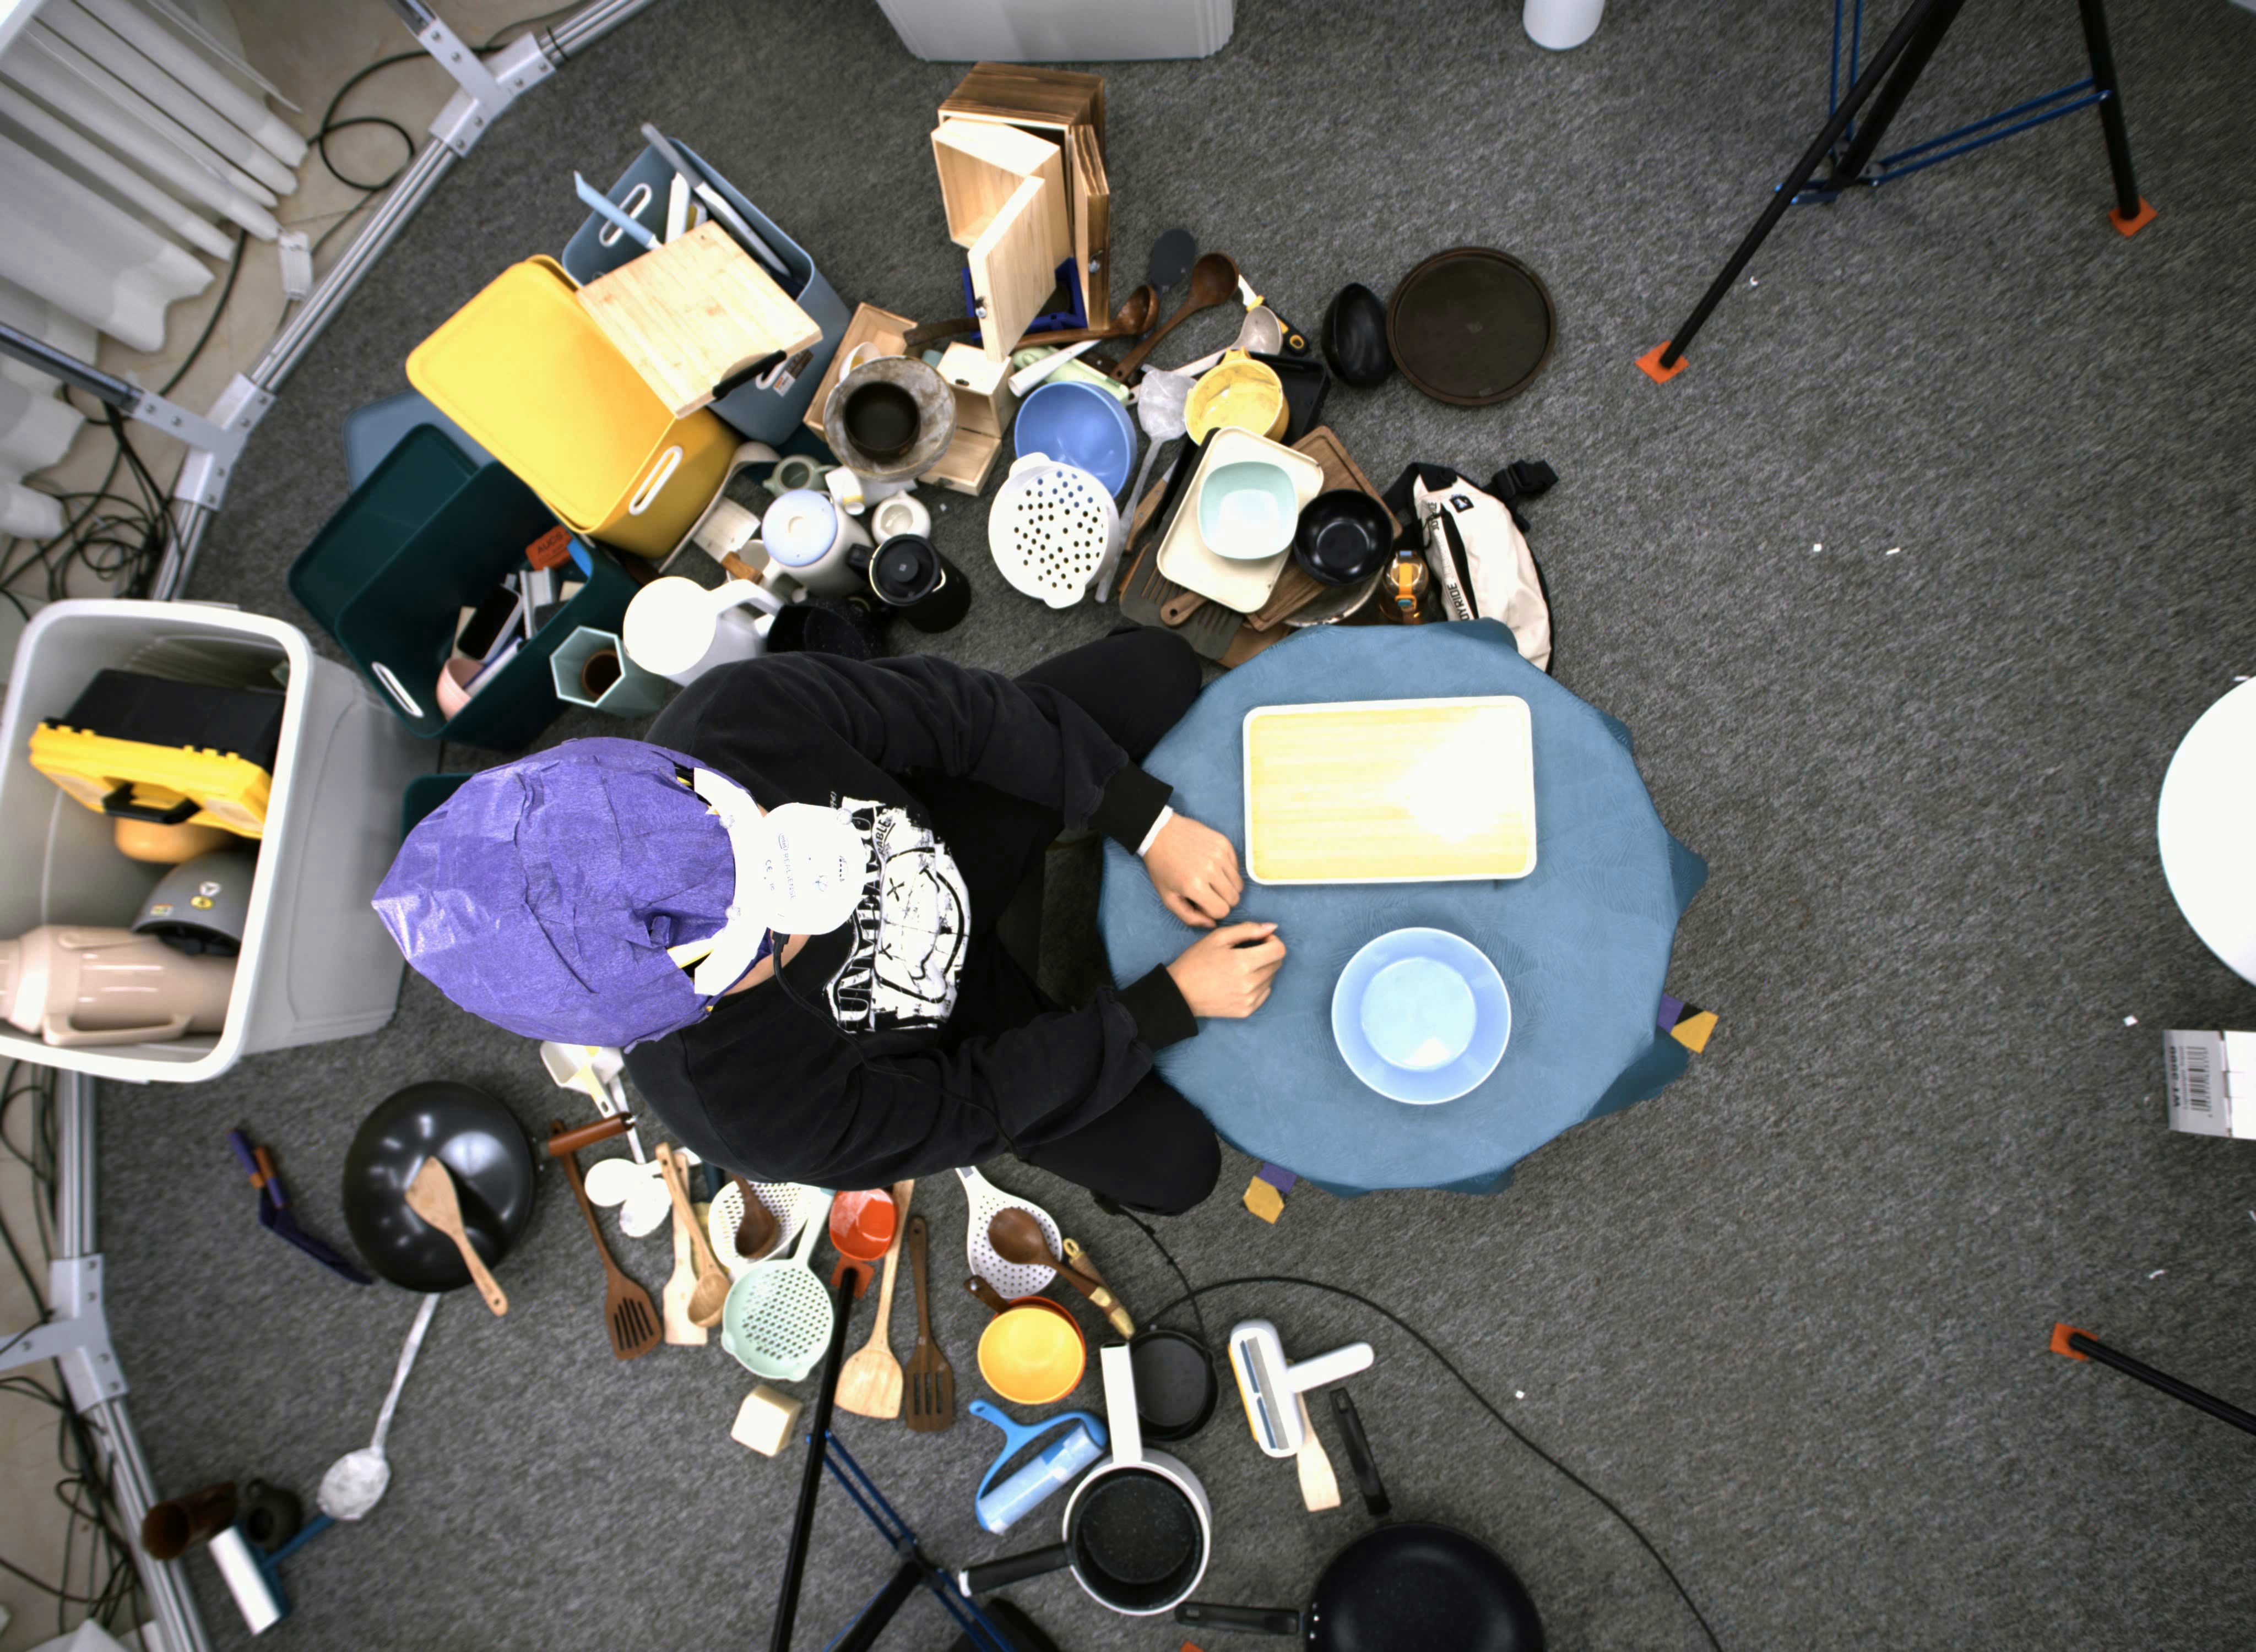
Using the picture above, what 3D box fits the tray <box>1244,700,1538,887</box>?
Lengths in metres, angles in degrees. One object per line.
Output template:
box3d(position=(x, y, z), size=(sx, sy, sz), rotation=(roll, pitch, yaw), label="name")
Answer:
box3d(position=(0.276, -0.035, 1.458), size=(0.301, 0.027, 0.190), rotation=(-2, 86, 10), label="tray")

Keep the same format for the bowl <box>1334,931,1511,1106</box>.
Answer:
box3d(position=(0.299, 0.195, 1.415), size=(0.177, 0.070, 0.175), rotation=(-1, 85, 9), label="bowl")
